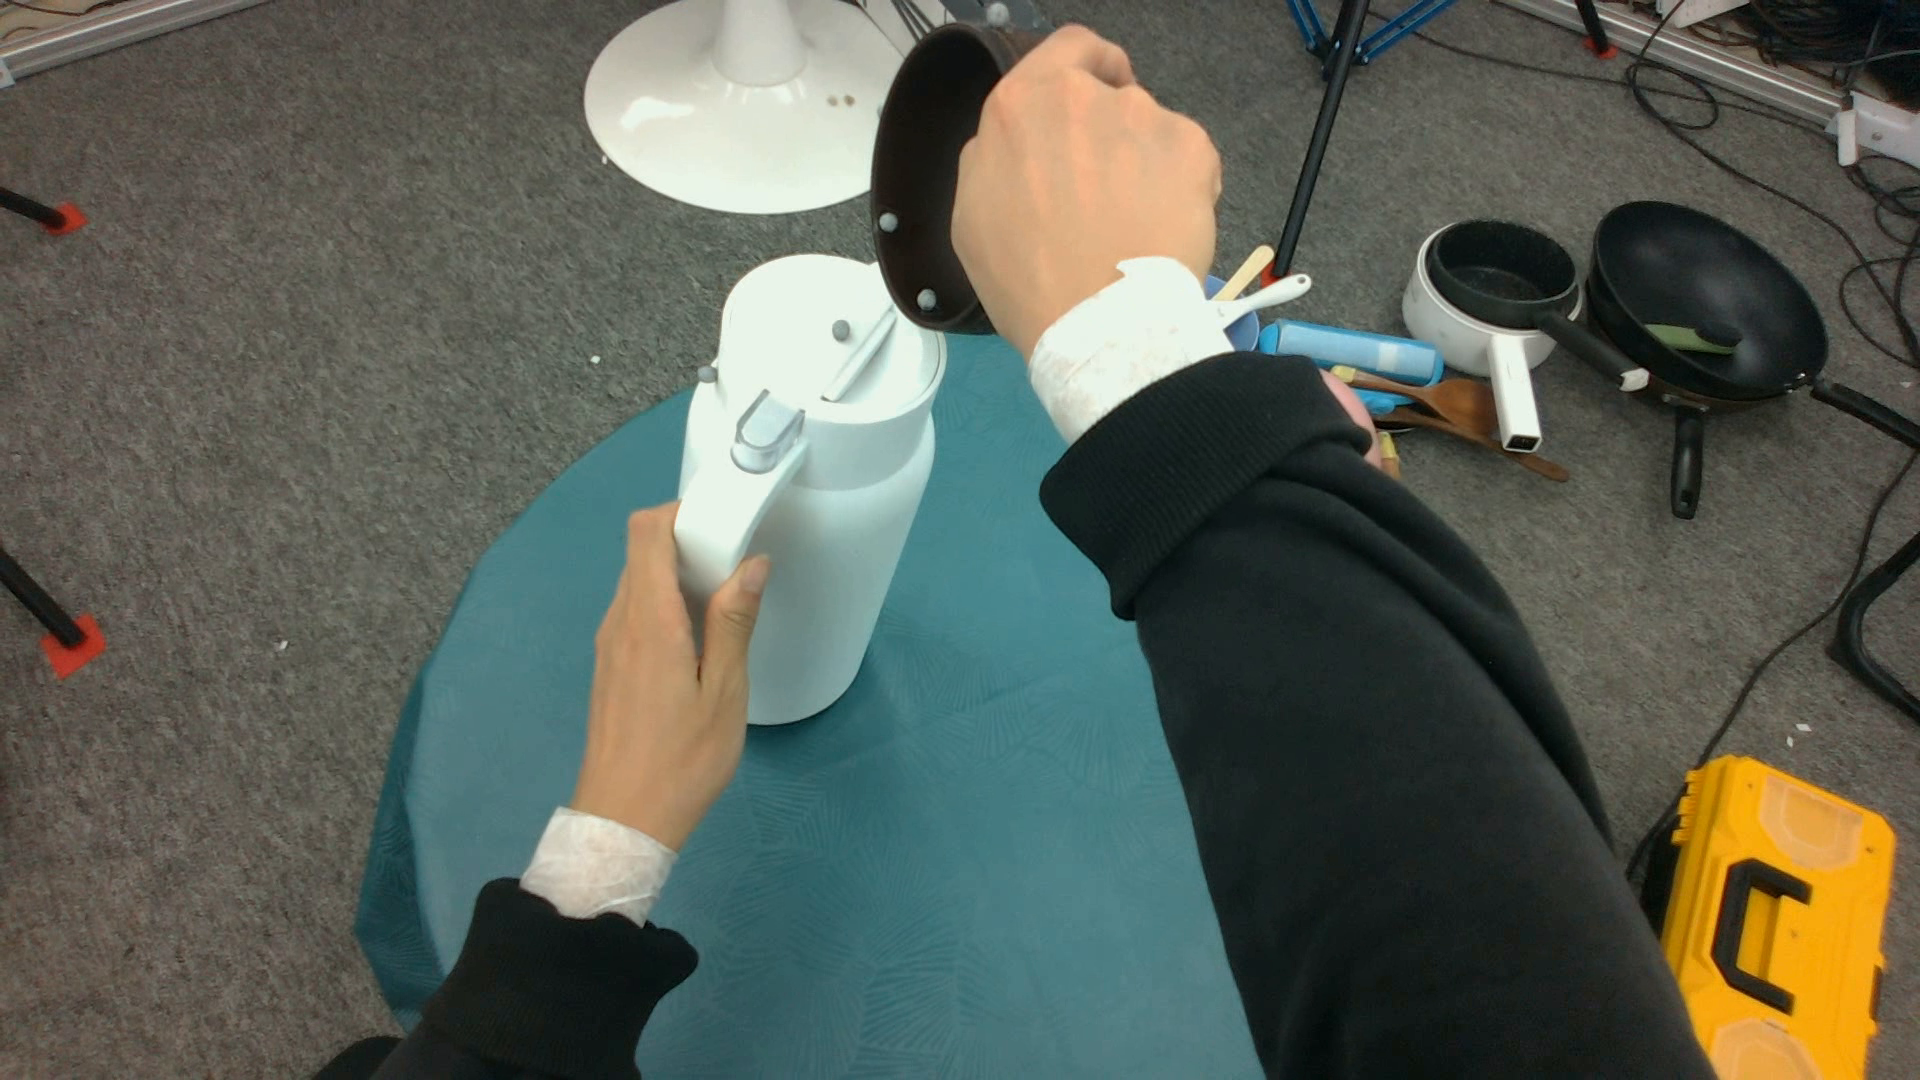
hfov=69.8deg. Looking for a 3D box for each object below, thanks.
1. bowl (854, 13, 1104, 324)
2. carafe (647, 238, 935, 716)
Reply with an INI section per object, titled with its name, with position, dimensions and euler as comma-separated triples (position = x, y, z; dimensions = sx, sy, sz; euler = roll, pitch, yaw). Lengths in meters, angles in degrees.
[bowl]
position = 0.014, -0.146, 0.552
dimensions = 0.070, 0.117, 0.118
euler = -6, 53, -32
[carafe]
position = -0.096, -0.008, 0.688
dimensions = 0.124, 0.267, 0.174
euler = 28, 52, 1
